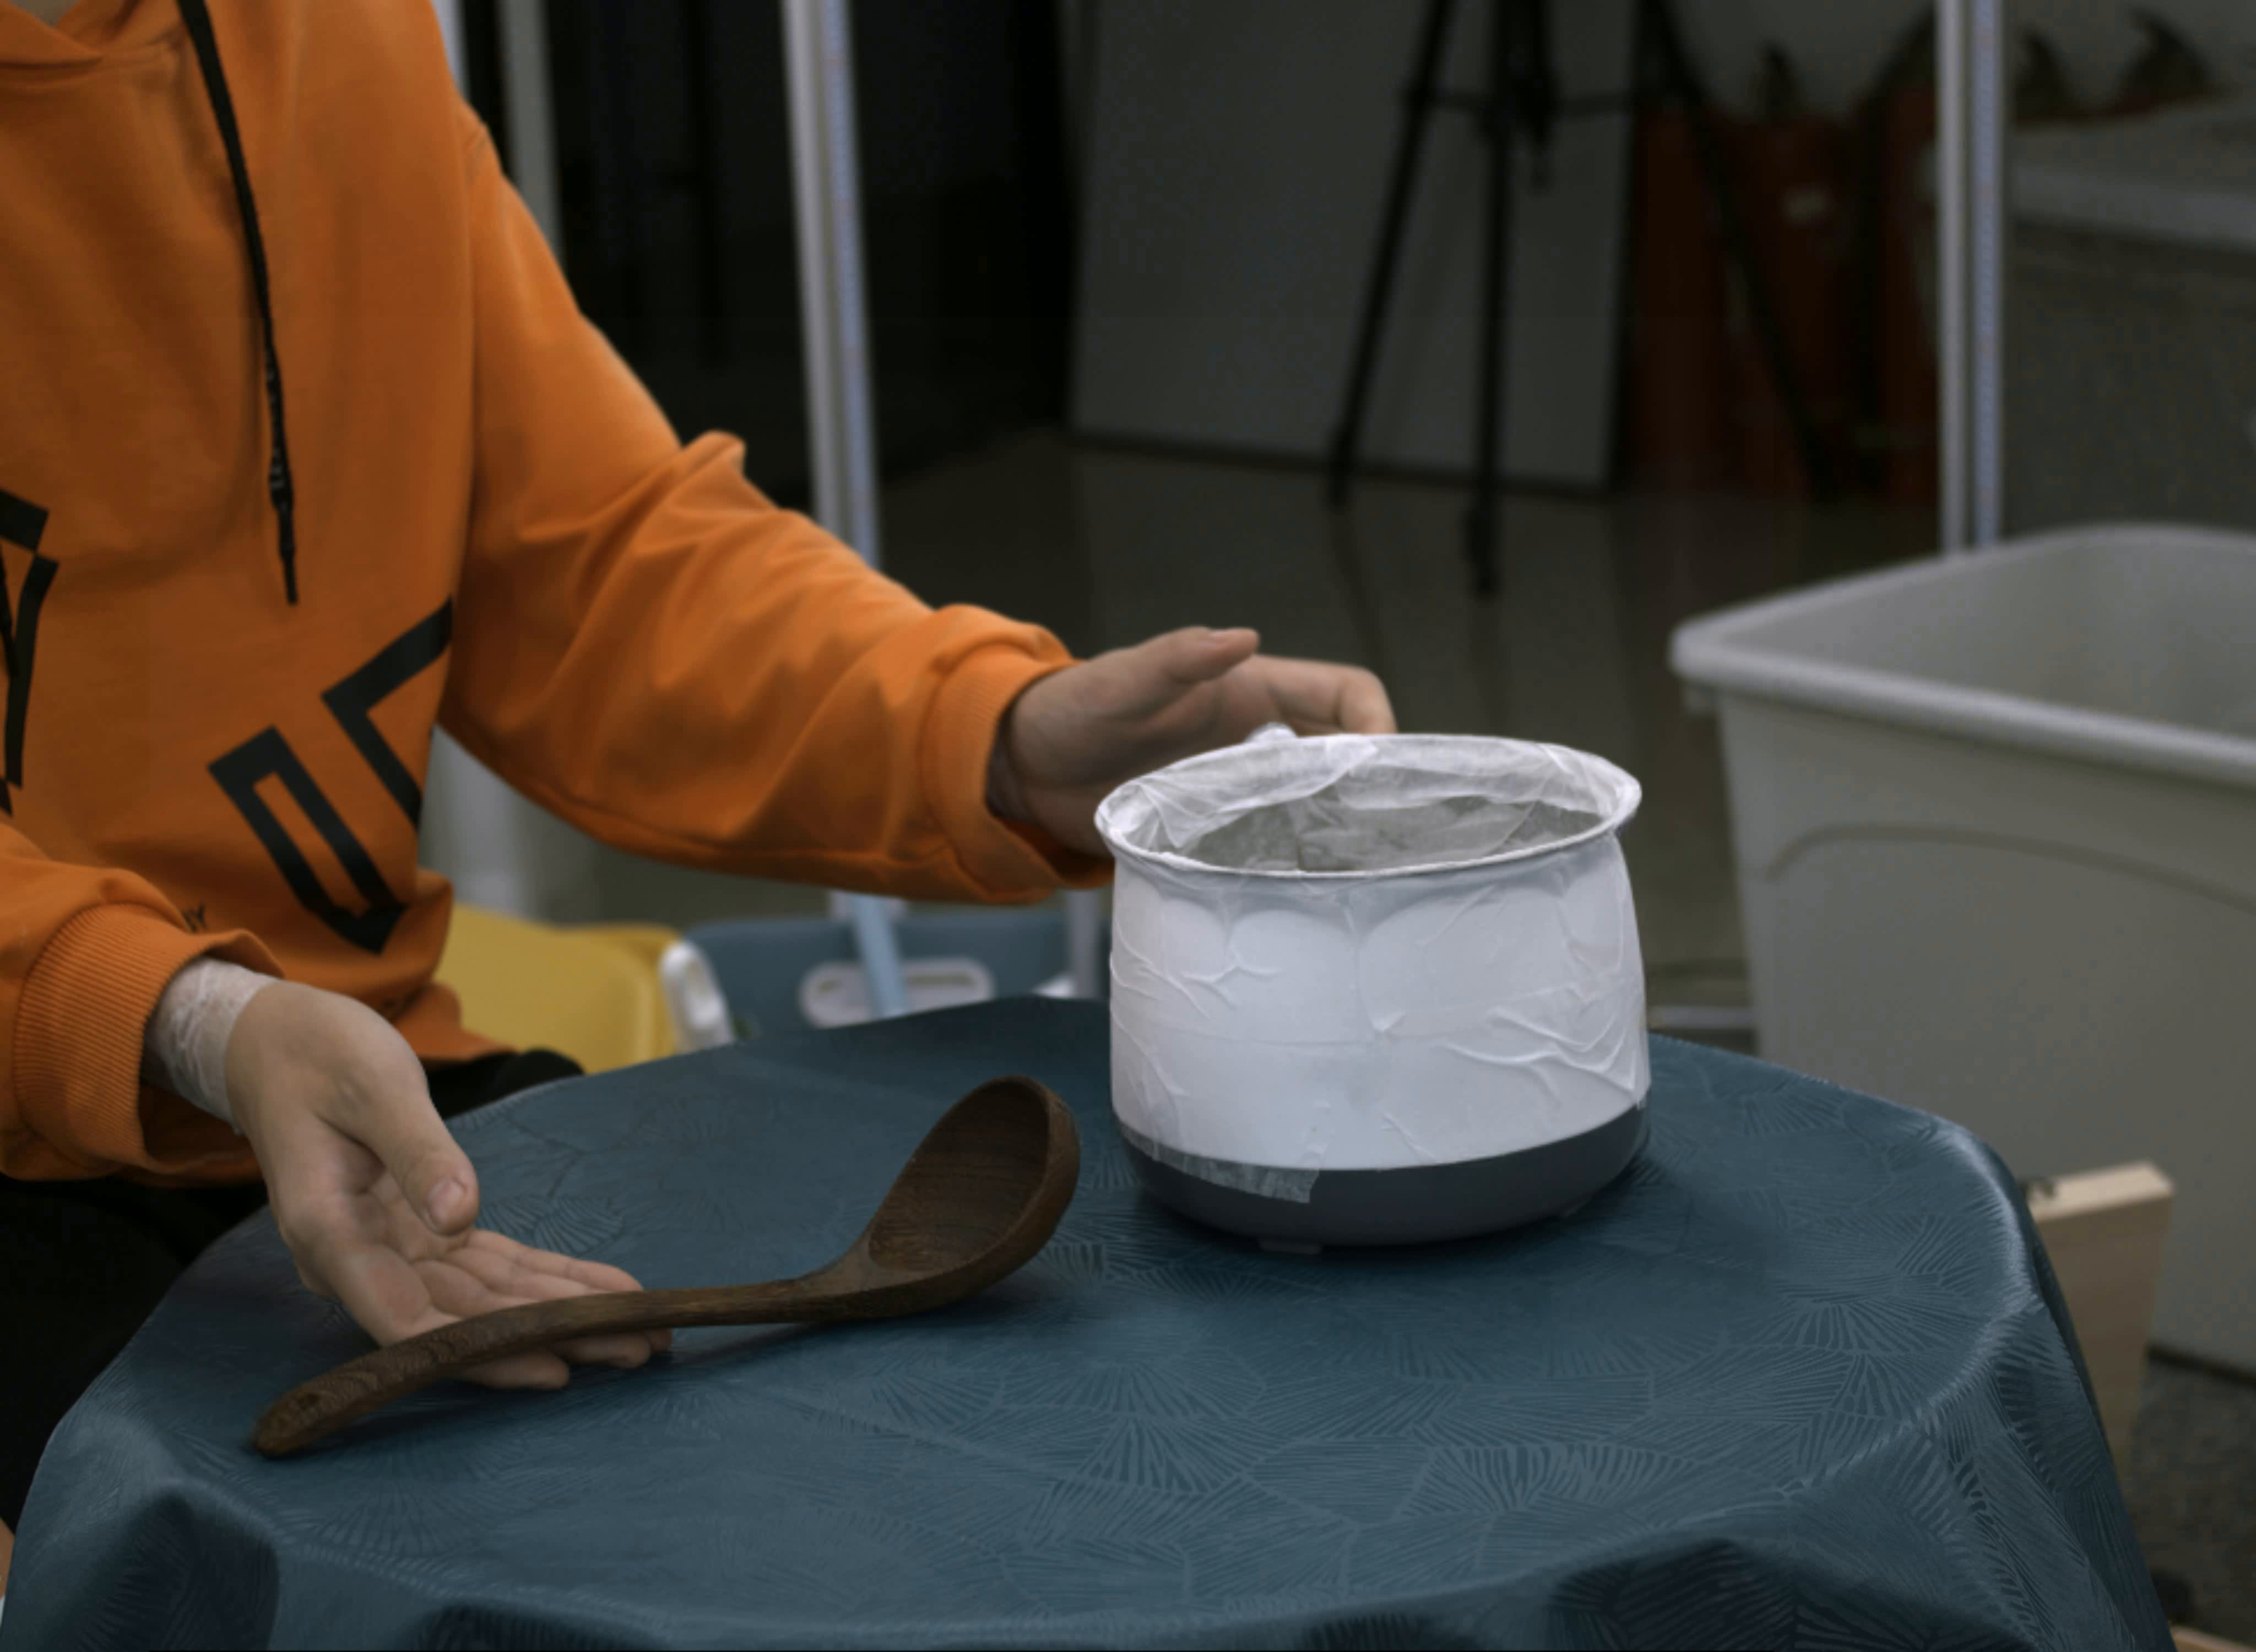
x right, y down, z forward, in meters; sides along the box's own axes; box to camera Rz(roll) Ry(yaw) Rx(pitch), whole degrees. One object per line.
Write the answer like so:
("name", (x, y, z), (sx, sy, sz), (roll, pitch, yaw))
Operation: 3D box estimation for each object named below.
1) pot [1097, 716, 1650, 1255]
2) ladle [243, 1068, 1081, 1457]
("pot", (0.071, 0.046, 1.765), (0.175, 0.138, 0.236), (-7, 14, -16))
("ladle", (-0.138, 0.129, 1.631), (0.268, 0.072, 0.077), (-9, 13, -26))
